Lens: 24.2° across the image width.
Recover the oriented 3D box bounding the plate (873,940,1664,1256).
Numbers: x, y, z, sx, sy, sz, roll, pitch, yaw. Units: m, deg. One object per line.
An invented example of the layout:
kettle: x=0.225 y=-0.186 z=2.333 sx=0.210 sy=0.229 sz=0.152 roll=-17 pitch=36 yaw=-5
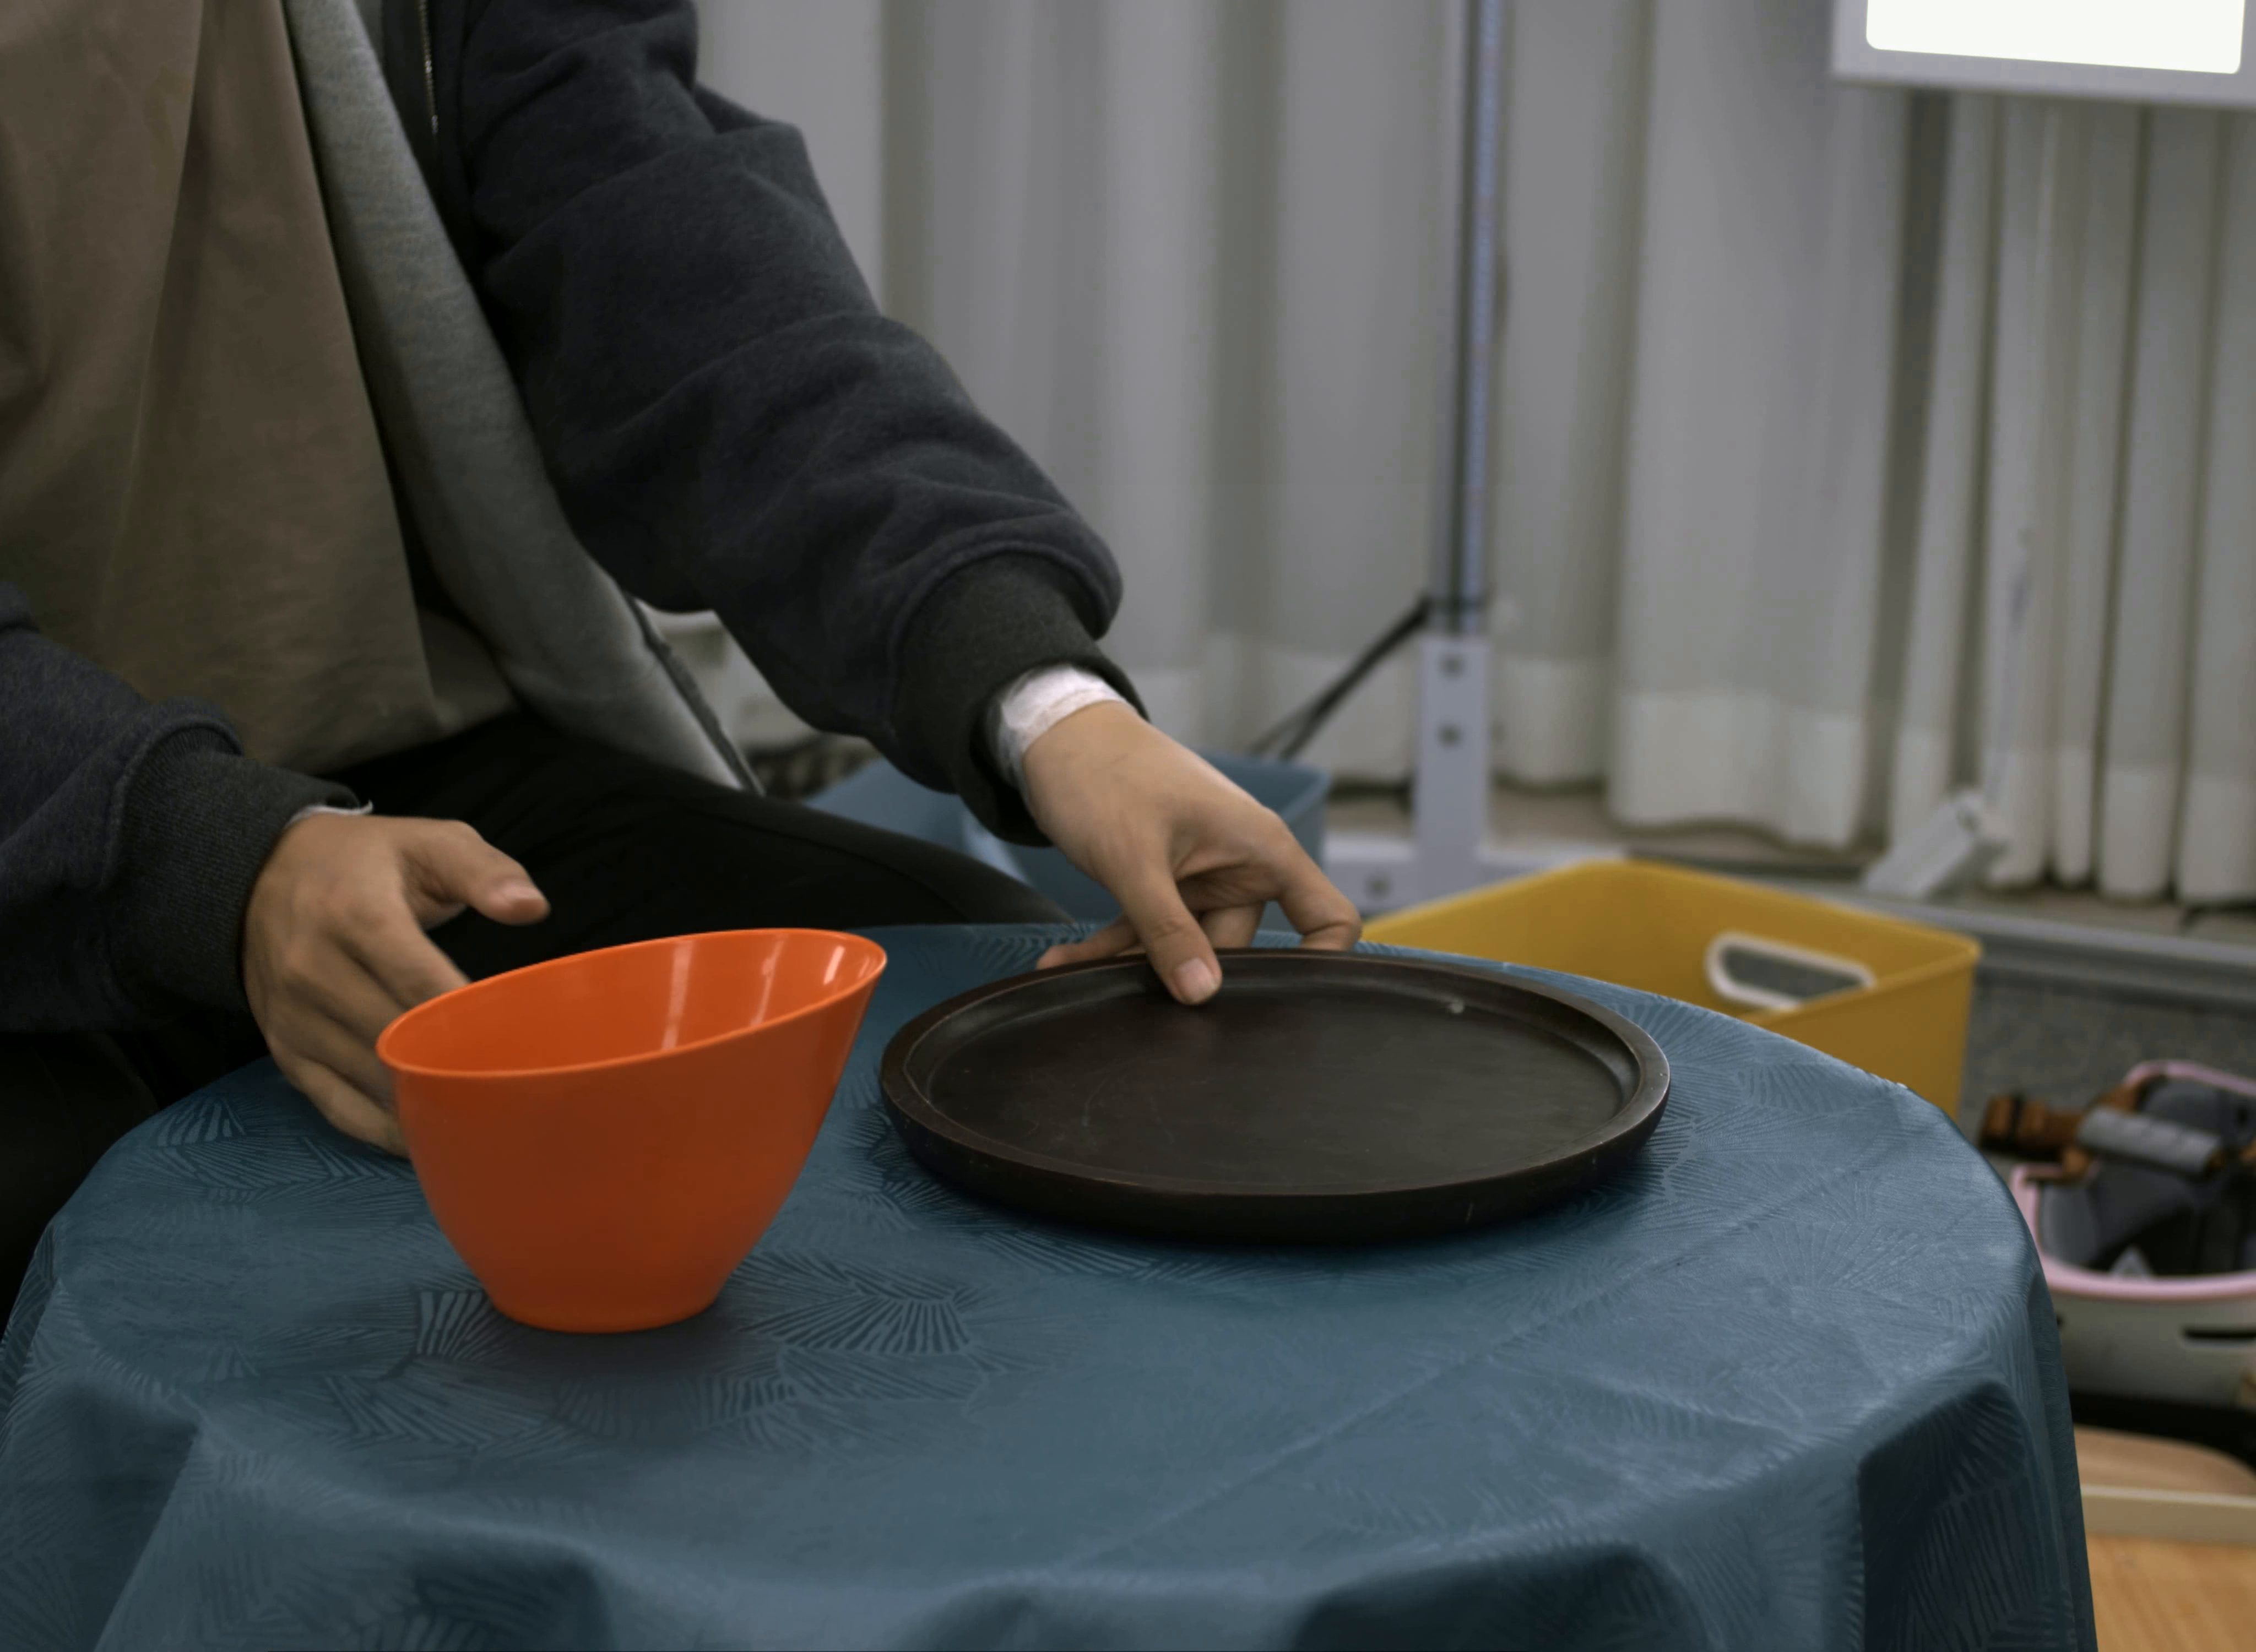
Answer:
plate: x=0.045 y=0.085 z=1.680 sx=0.254 sy=0.029 sz=0.253 roll=0 pitch=17 yaw=1

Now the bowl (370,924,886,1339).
bowl: x=-0.143 y=0.089 z=1.512 sx=0.147 sy=0.105 sz=0.147 roll=0 pitch=17 yaw=0
